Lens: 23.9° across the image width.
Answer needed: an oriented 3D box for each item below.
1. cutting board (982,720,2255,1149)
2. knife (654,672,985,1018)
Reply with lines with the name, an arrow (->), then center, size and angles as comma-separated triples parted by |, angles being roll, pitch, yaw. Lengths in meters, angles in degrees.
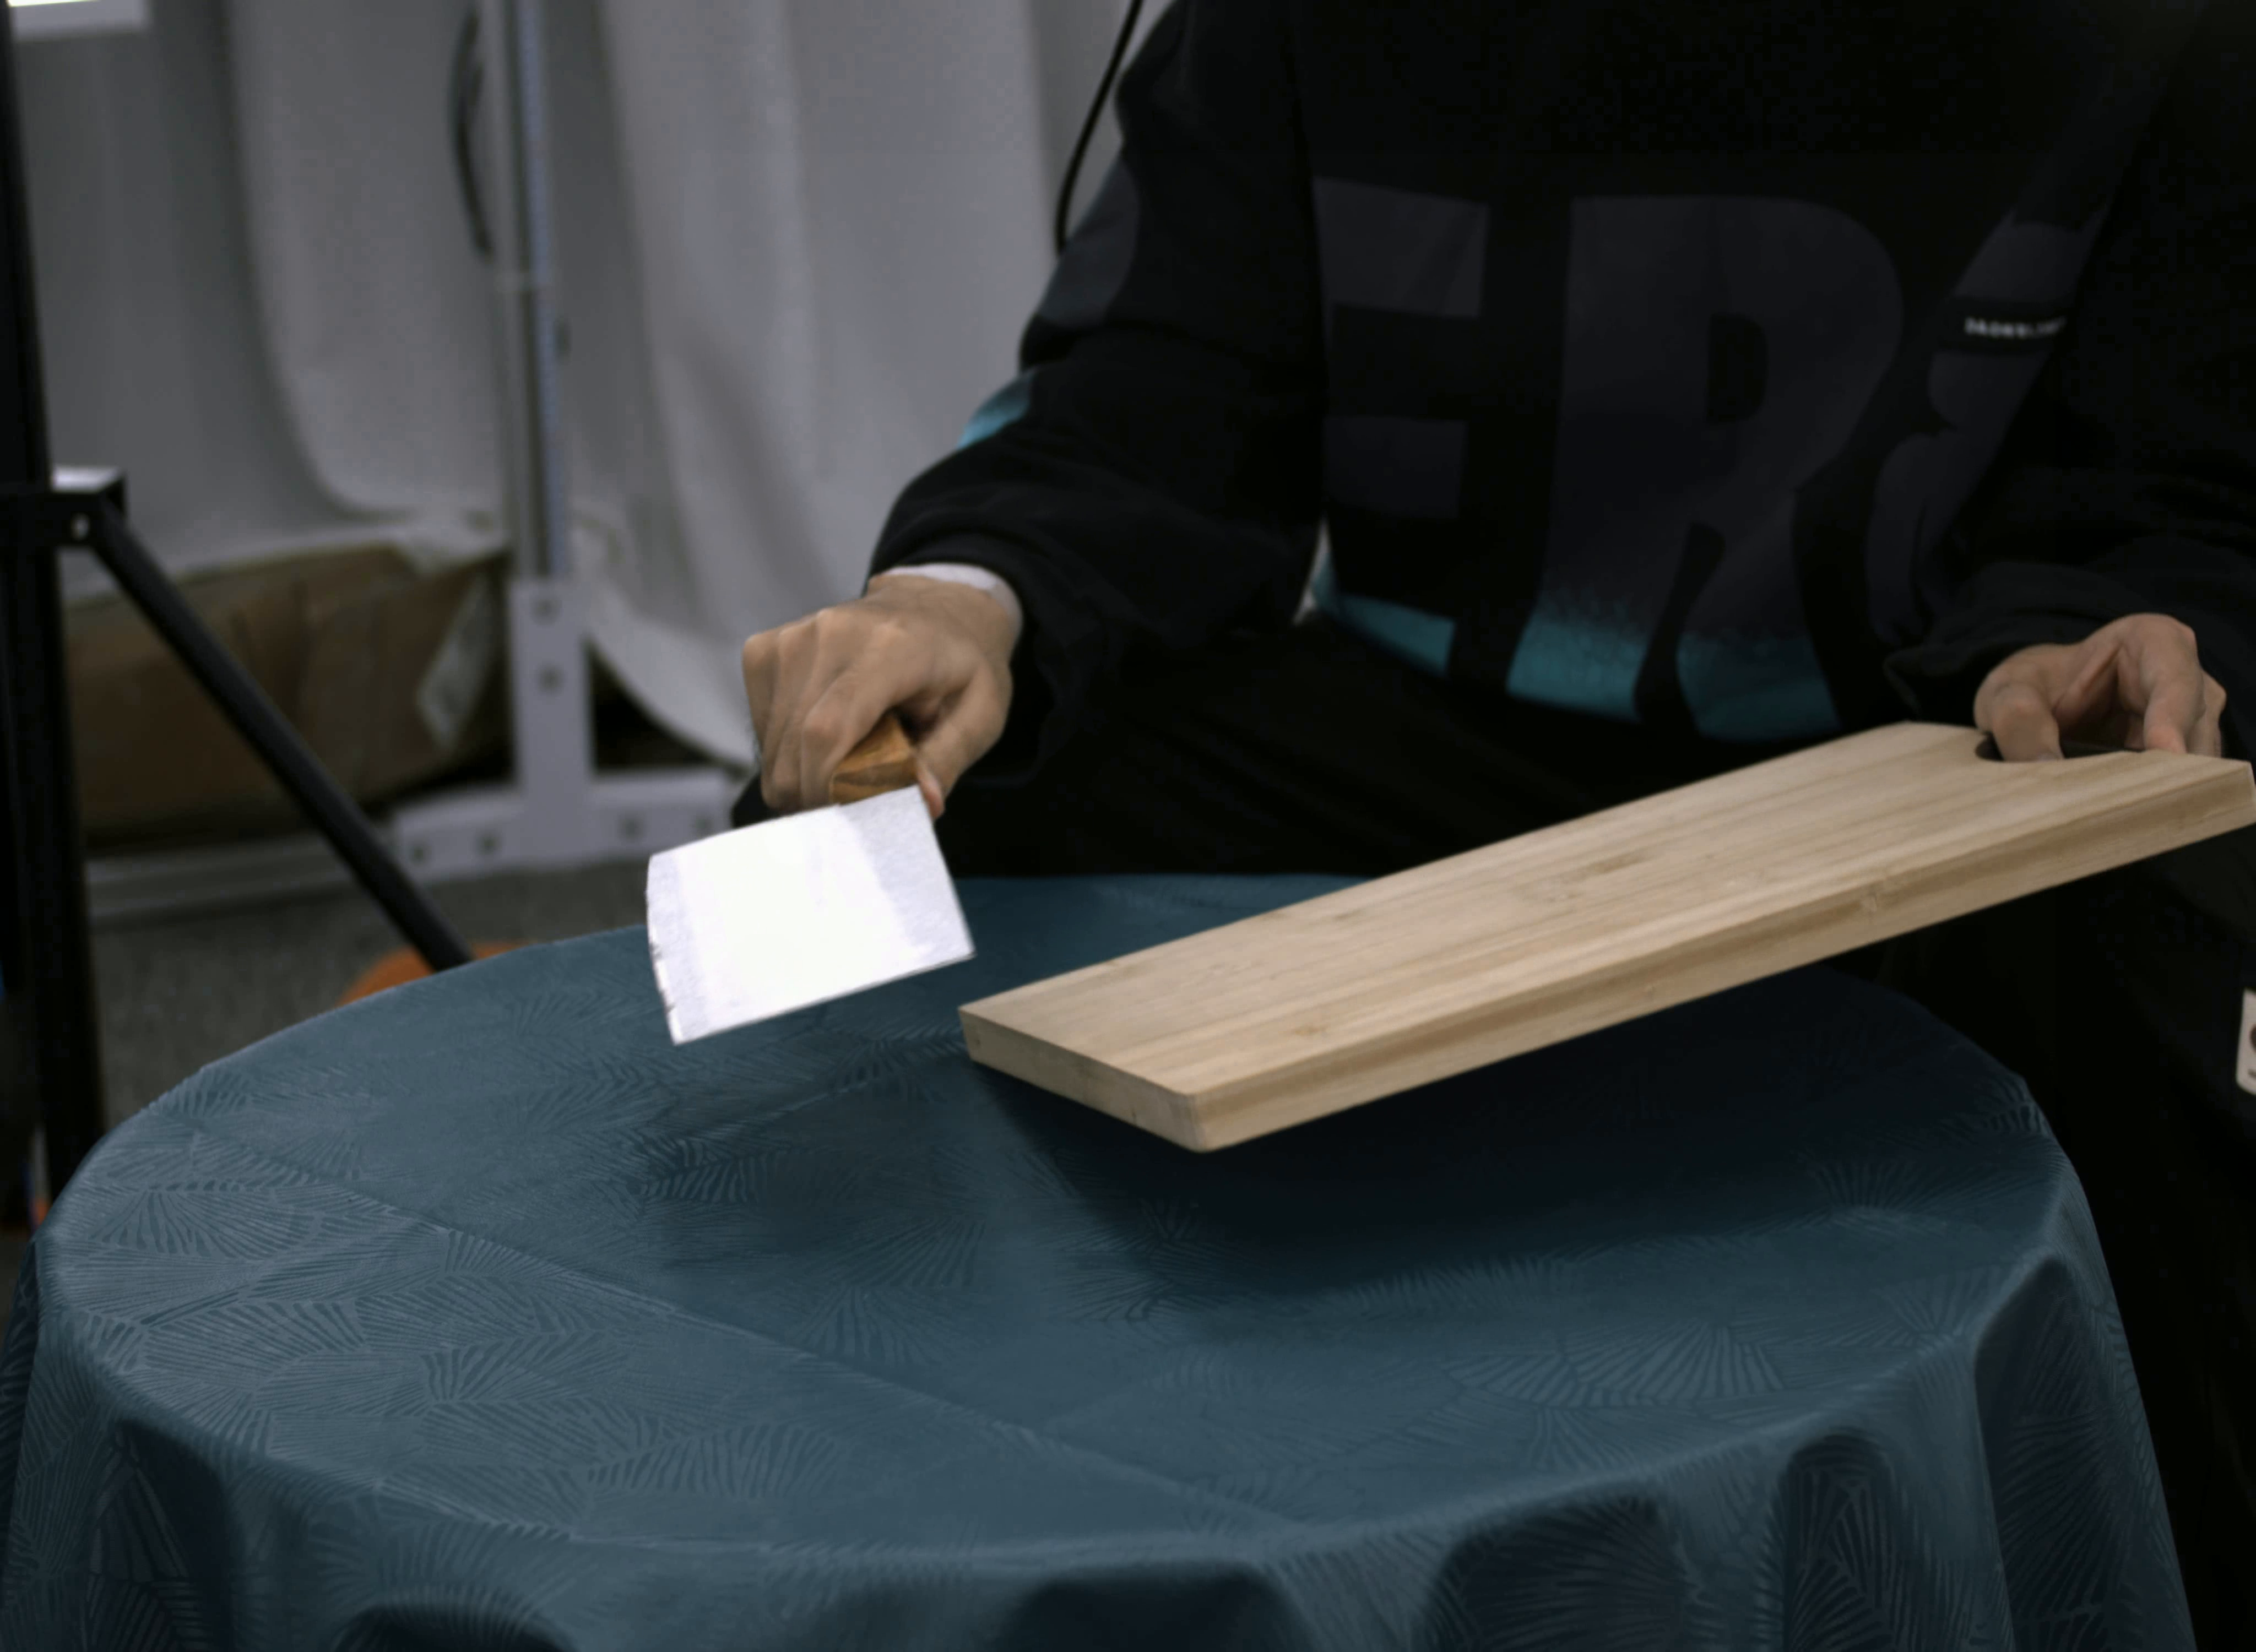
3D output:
cutting board -> 0.144, 0.027, 1.611 | 0.343, 0.023, 0.254 | -16, 8, -15
knife -> -0.102, 0.006, 1.659 | 0.092, 0.021, 0.308 | -17, 17, -3
